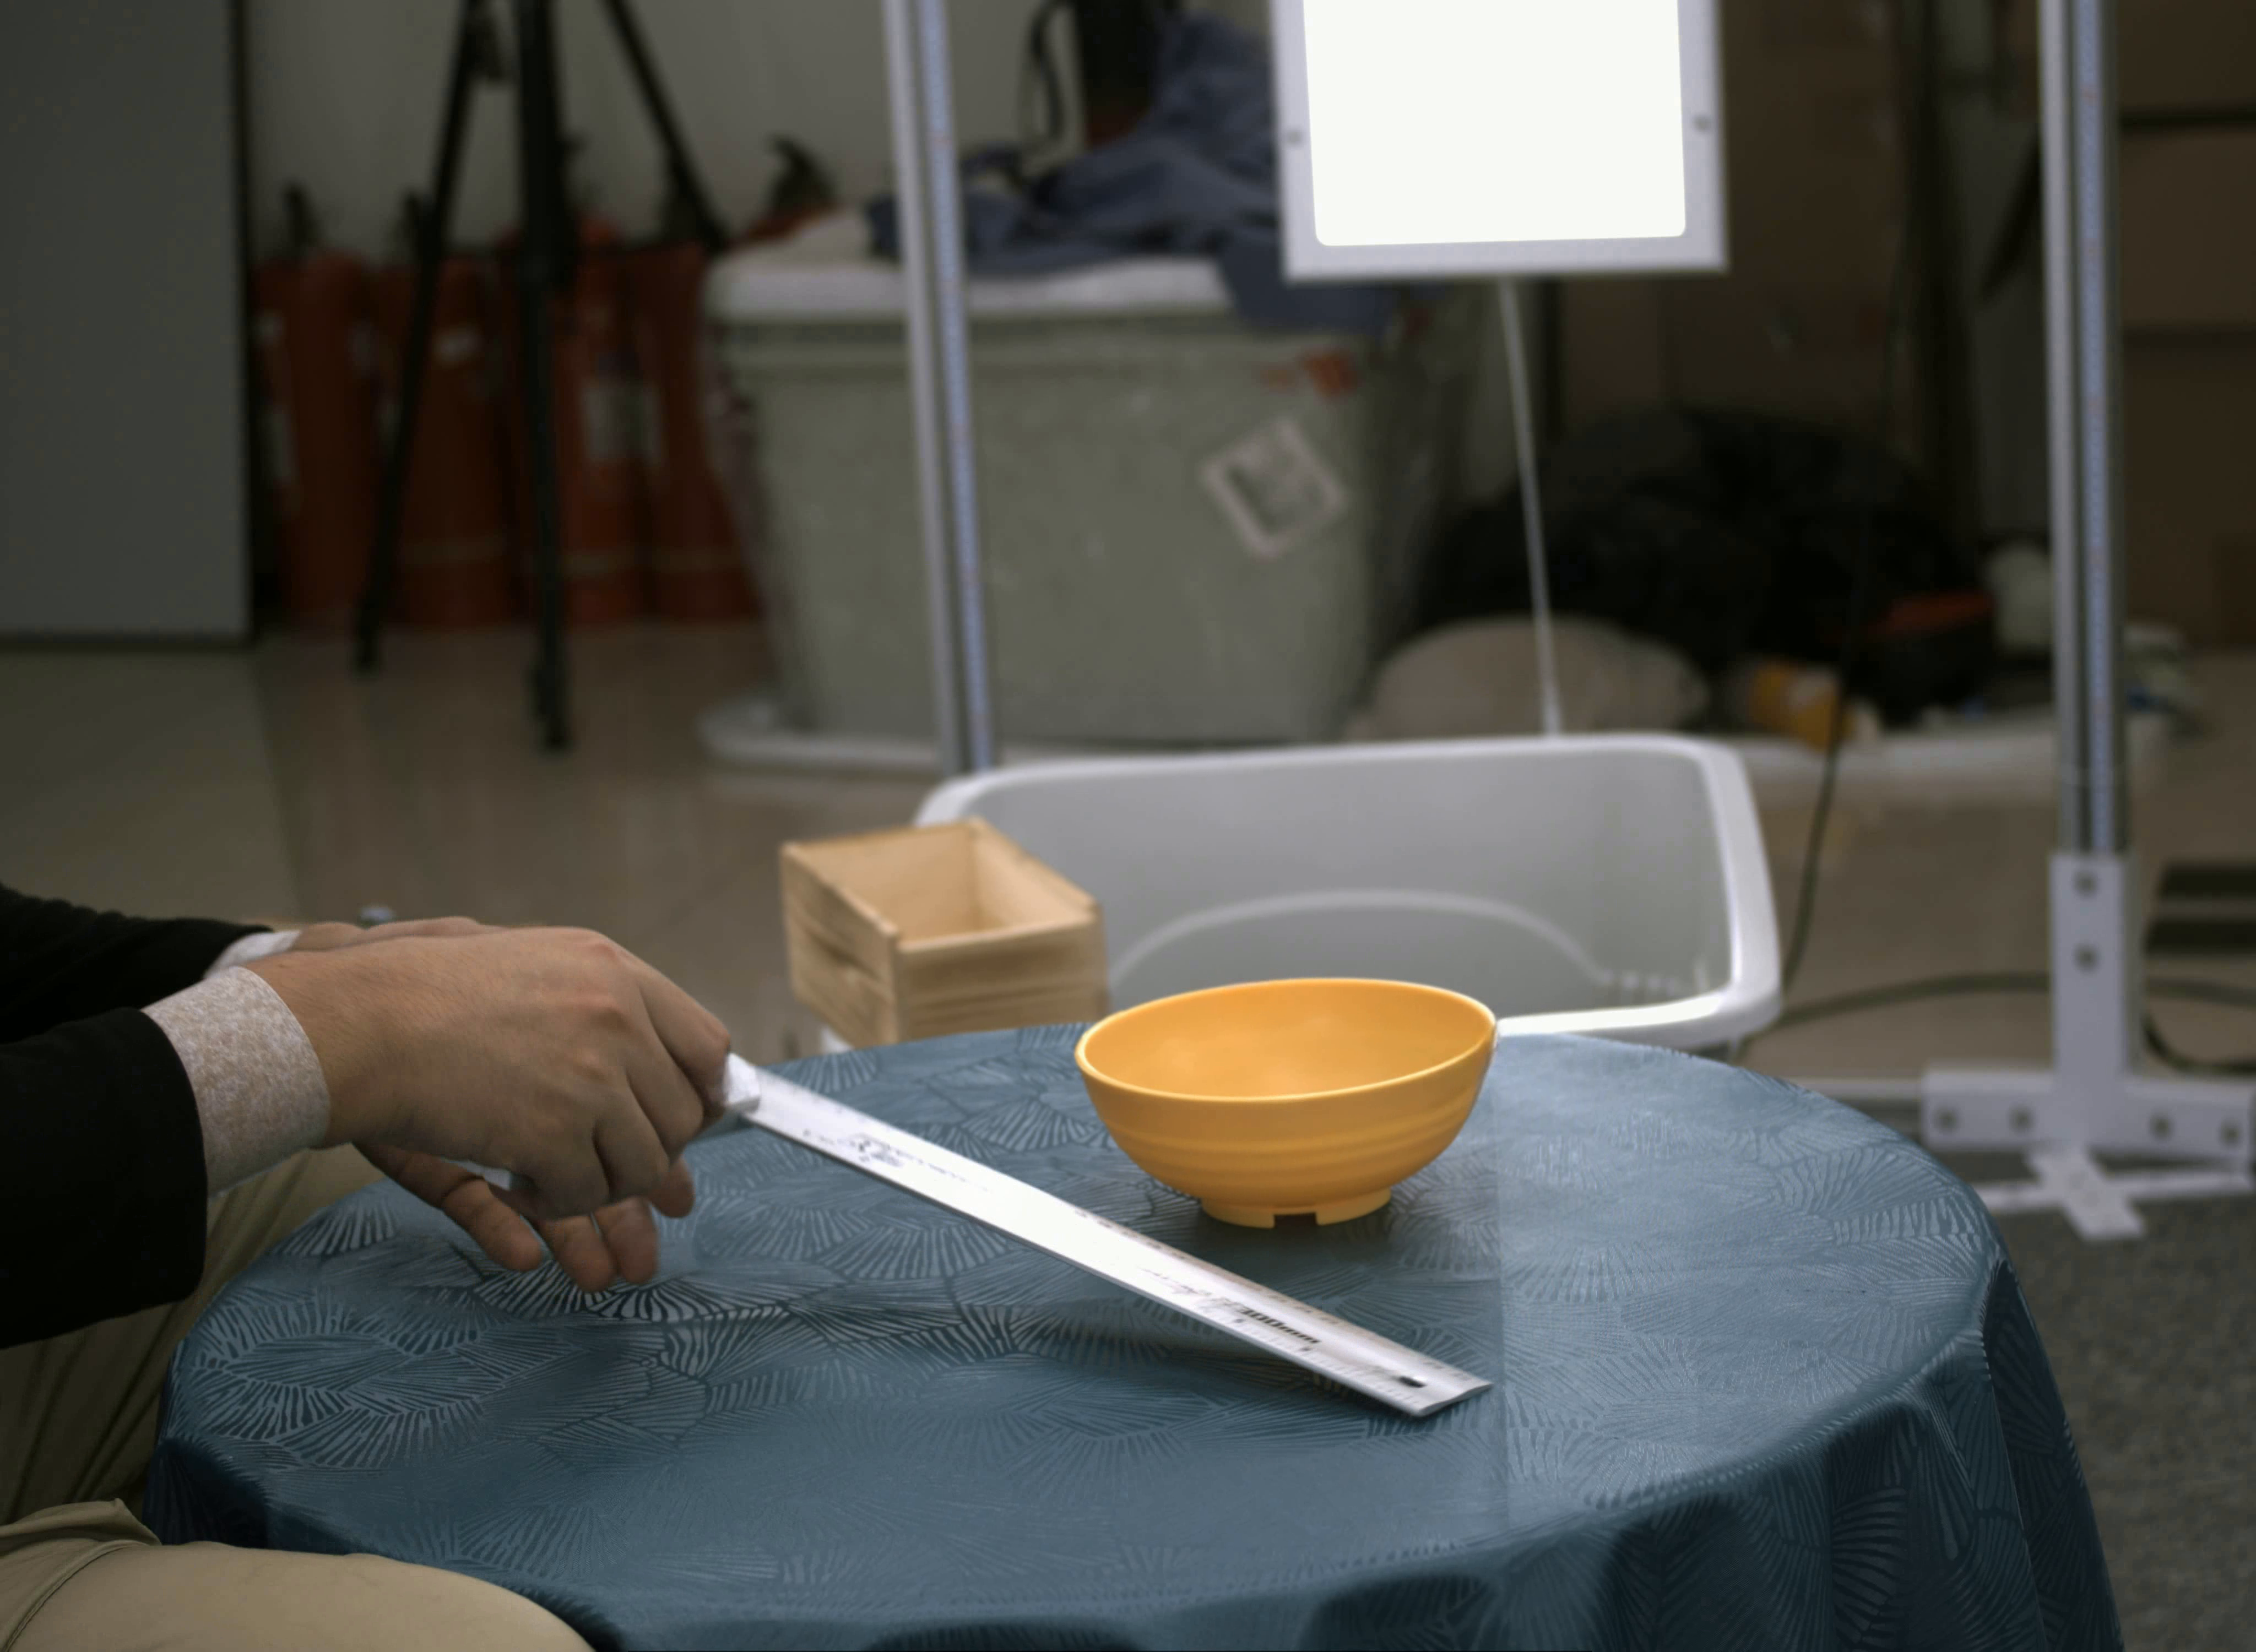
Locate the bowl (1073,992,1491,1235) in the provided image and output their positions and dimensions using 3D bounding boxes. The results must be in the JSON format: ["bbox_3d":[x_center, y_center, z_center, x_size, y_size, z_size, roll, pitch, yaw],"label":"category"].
[{"bbox_3d":[0.055,0.101,1.866,0.145,0.060,0.145,-7,12,0],"label":"bowl"}]

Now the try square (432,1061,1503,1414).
[{"bbox_3d":[-0.053,0.138,1.711,0.318,0.016,0.148,19,21,34],"label":"try square"}]
